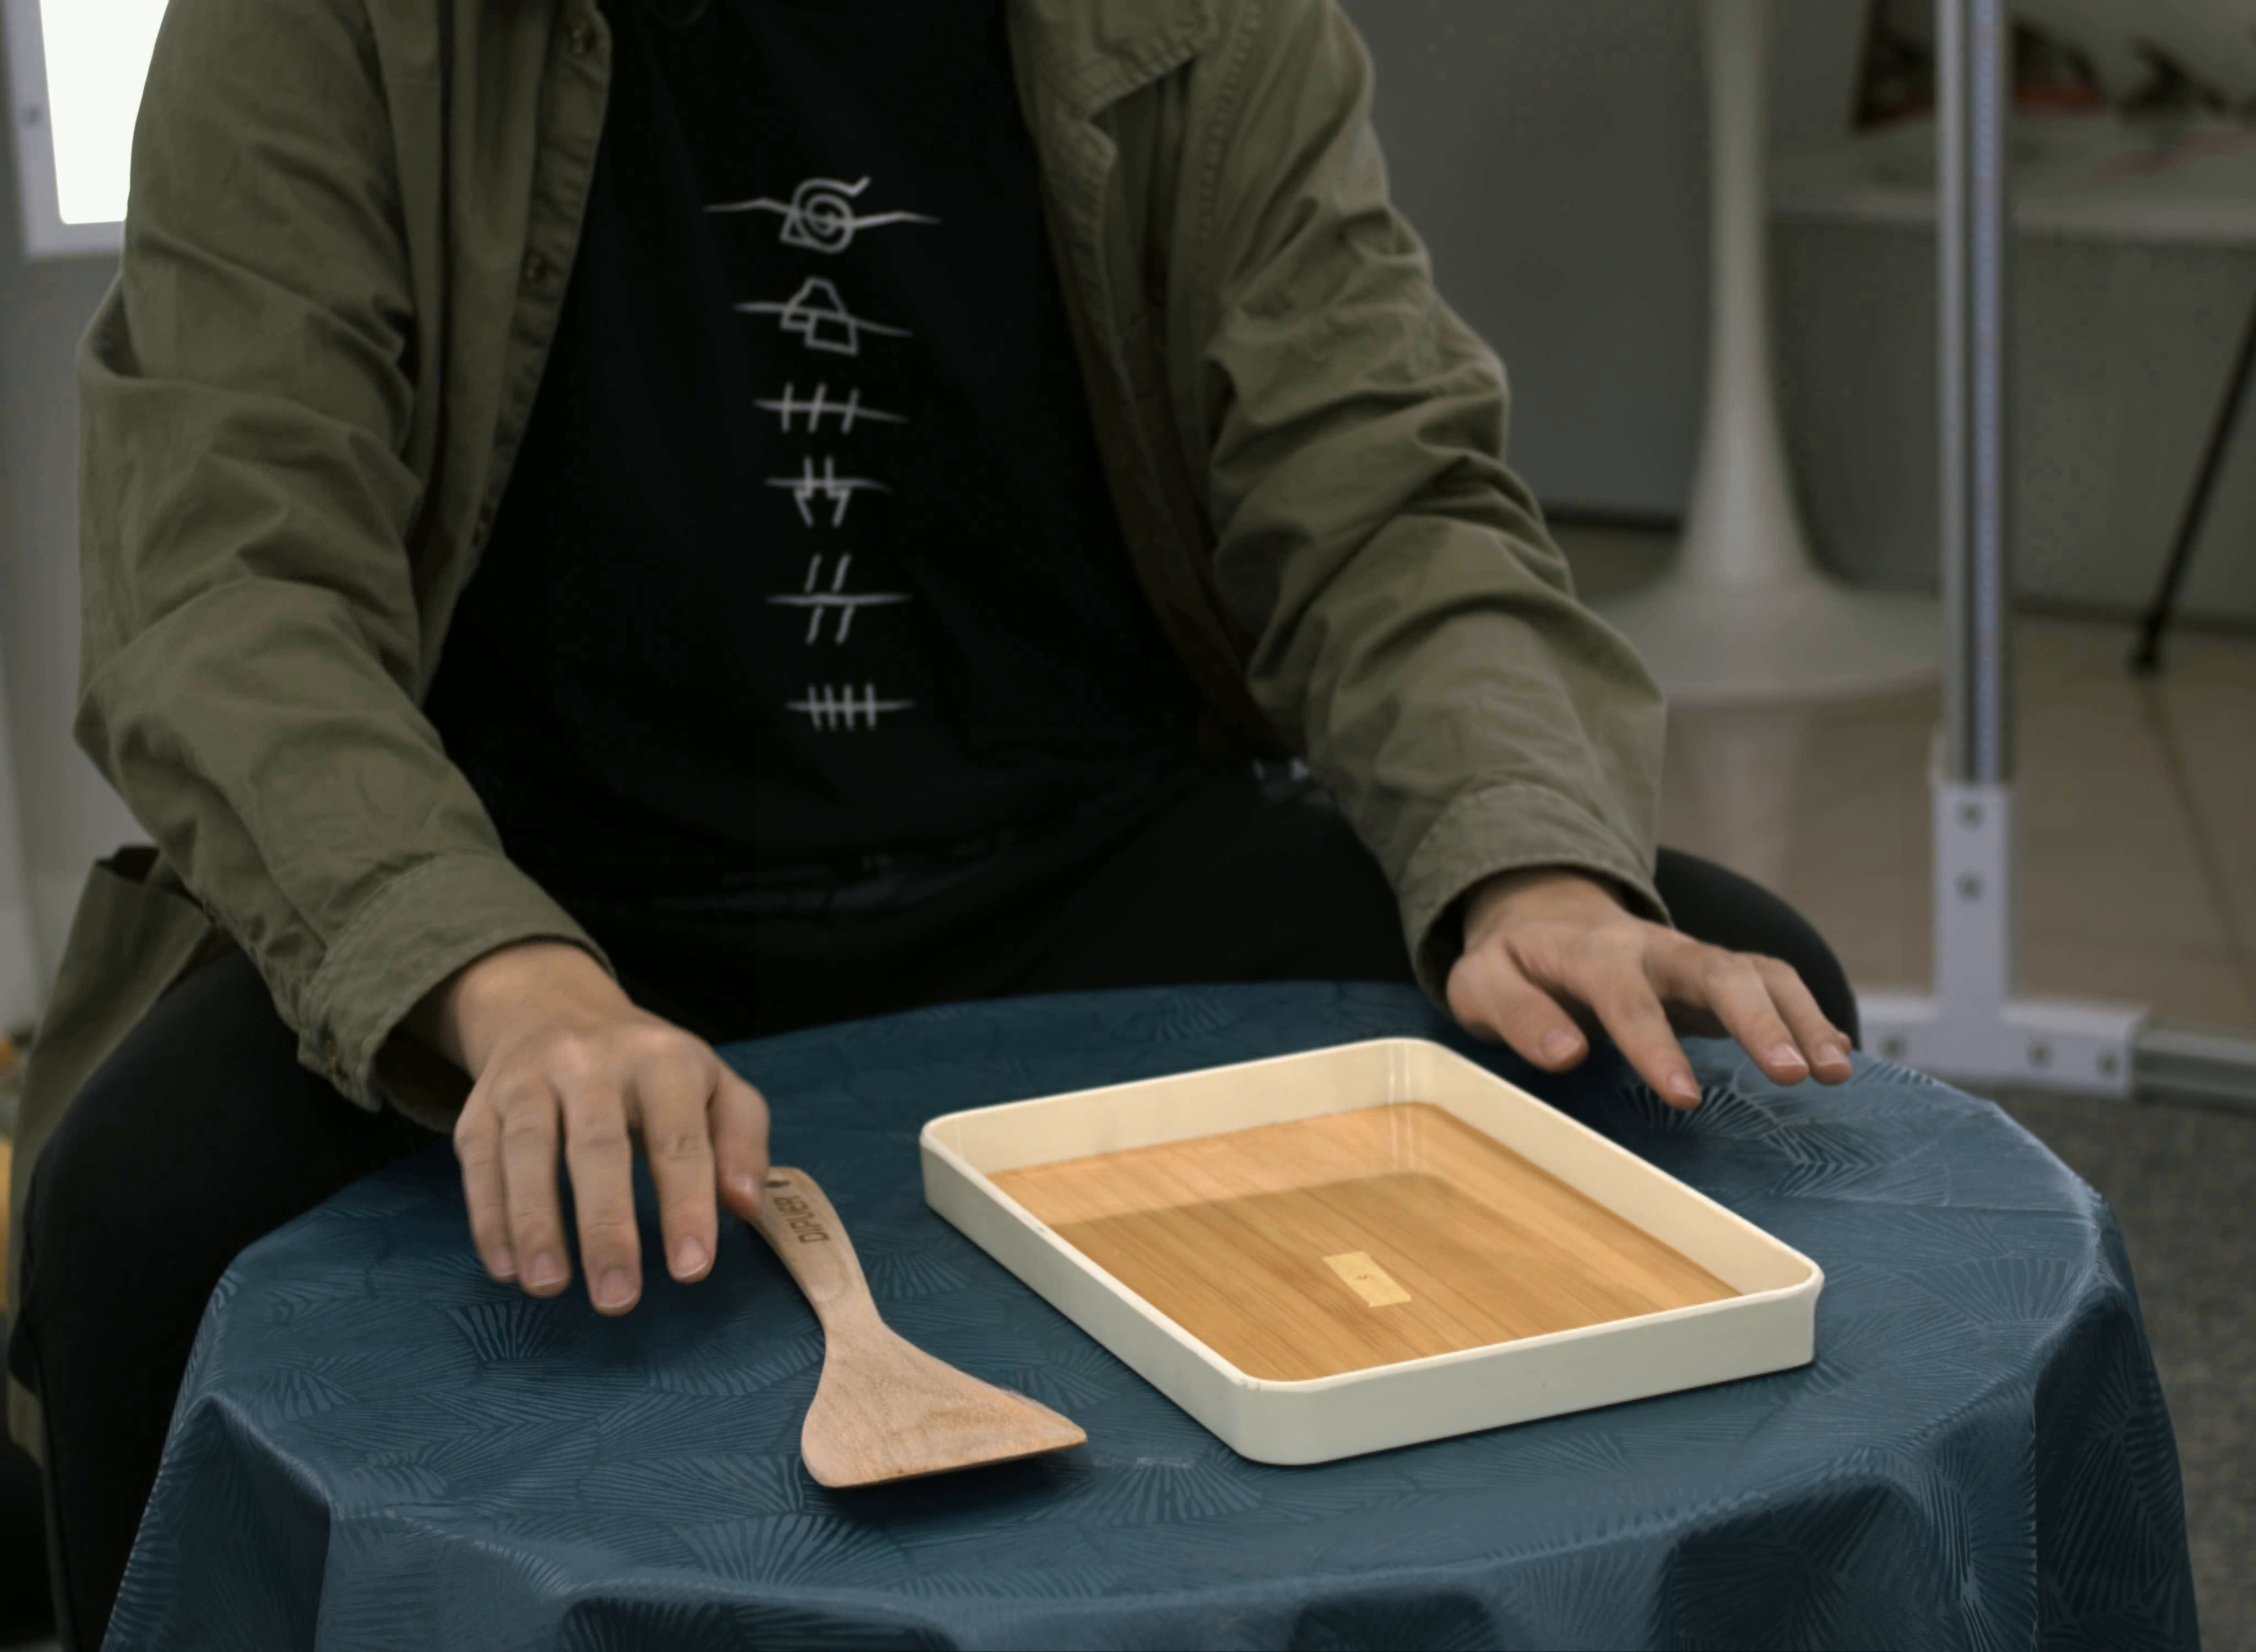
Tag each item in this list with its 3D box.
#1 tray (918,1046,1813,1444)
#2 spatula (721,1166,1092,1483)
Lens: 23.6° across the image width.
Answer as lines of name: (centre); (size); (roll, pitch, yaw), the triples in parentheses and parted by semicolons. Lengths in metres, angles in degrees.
tray: (0.067, 0.125, 1.674); (0.187, 0.028, 0.303); (-8, 13, -19)
spatula: (-0.083, 0.147, 1.650); (0.078, 0.017, 0.330); (-7, 14, -13)
